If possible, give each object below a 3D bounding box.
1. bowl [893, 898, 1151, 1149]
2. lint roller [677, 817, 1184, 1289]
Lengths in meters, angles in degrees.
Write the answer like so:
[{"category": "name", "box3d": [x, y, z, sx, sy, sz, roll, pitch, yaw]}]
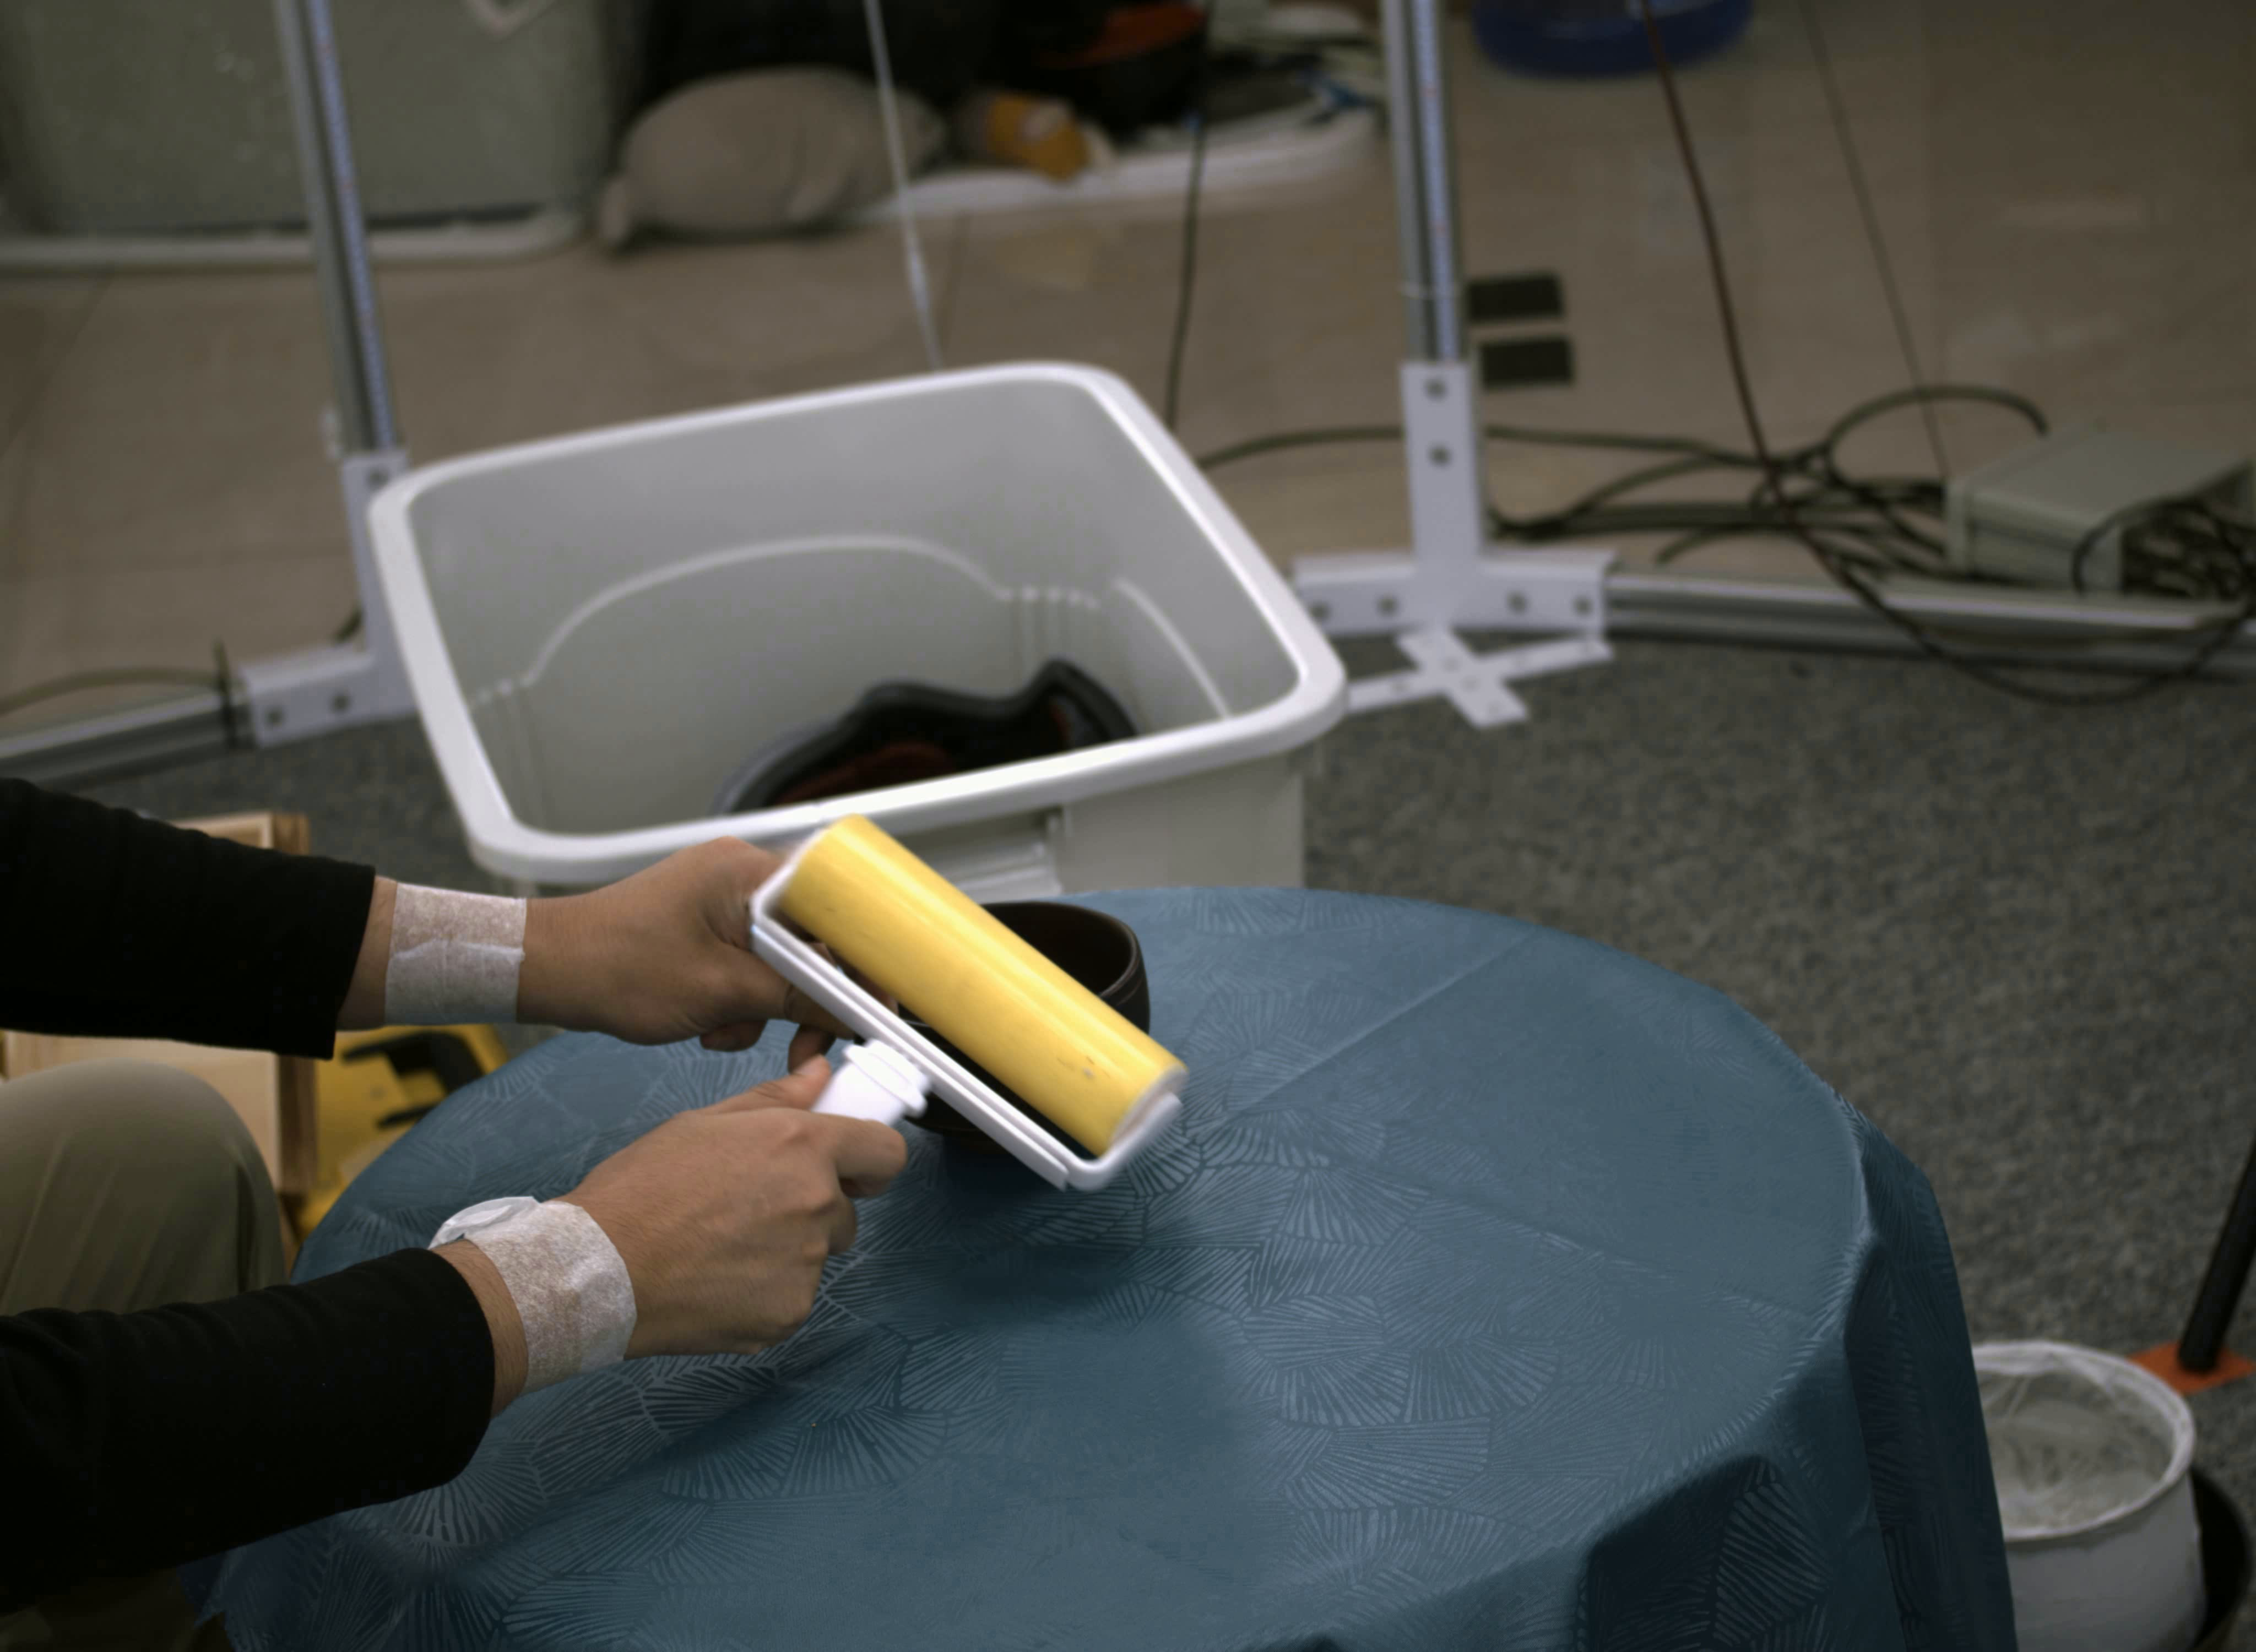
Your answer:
[{"category": "bowl", "box3d": [-0.049, 0.082, 2.193, 0.118, 0.071, 0.116, -5, 24, 2]}, {"category": "lint roller", "box3d": [-0.097, 0.098, 2.065, 0.173, 0.052, 0.189, 35, 48, 14]}]
